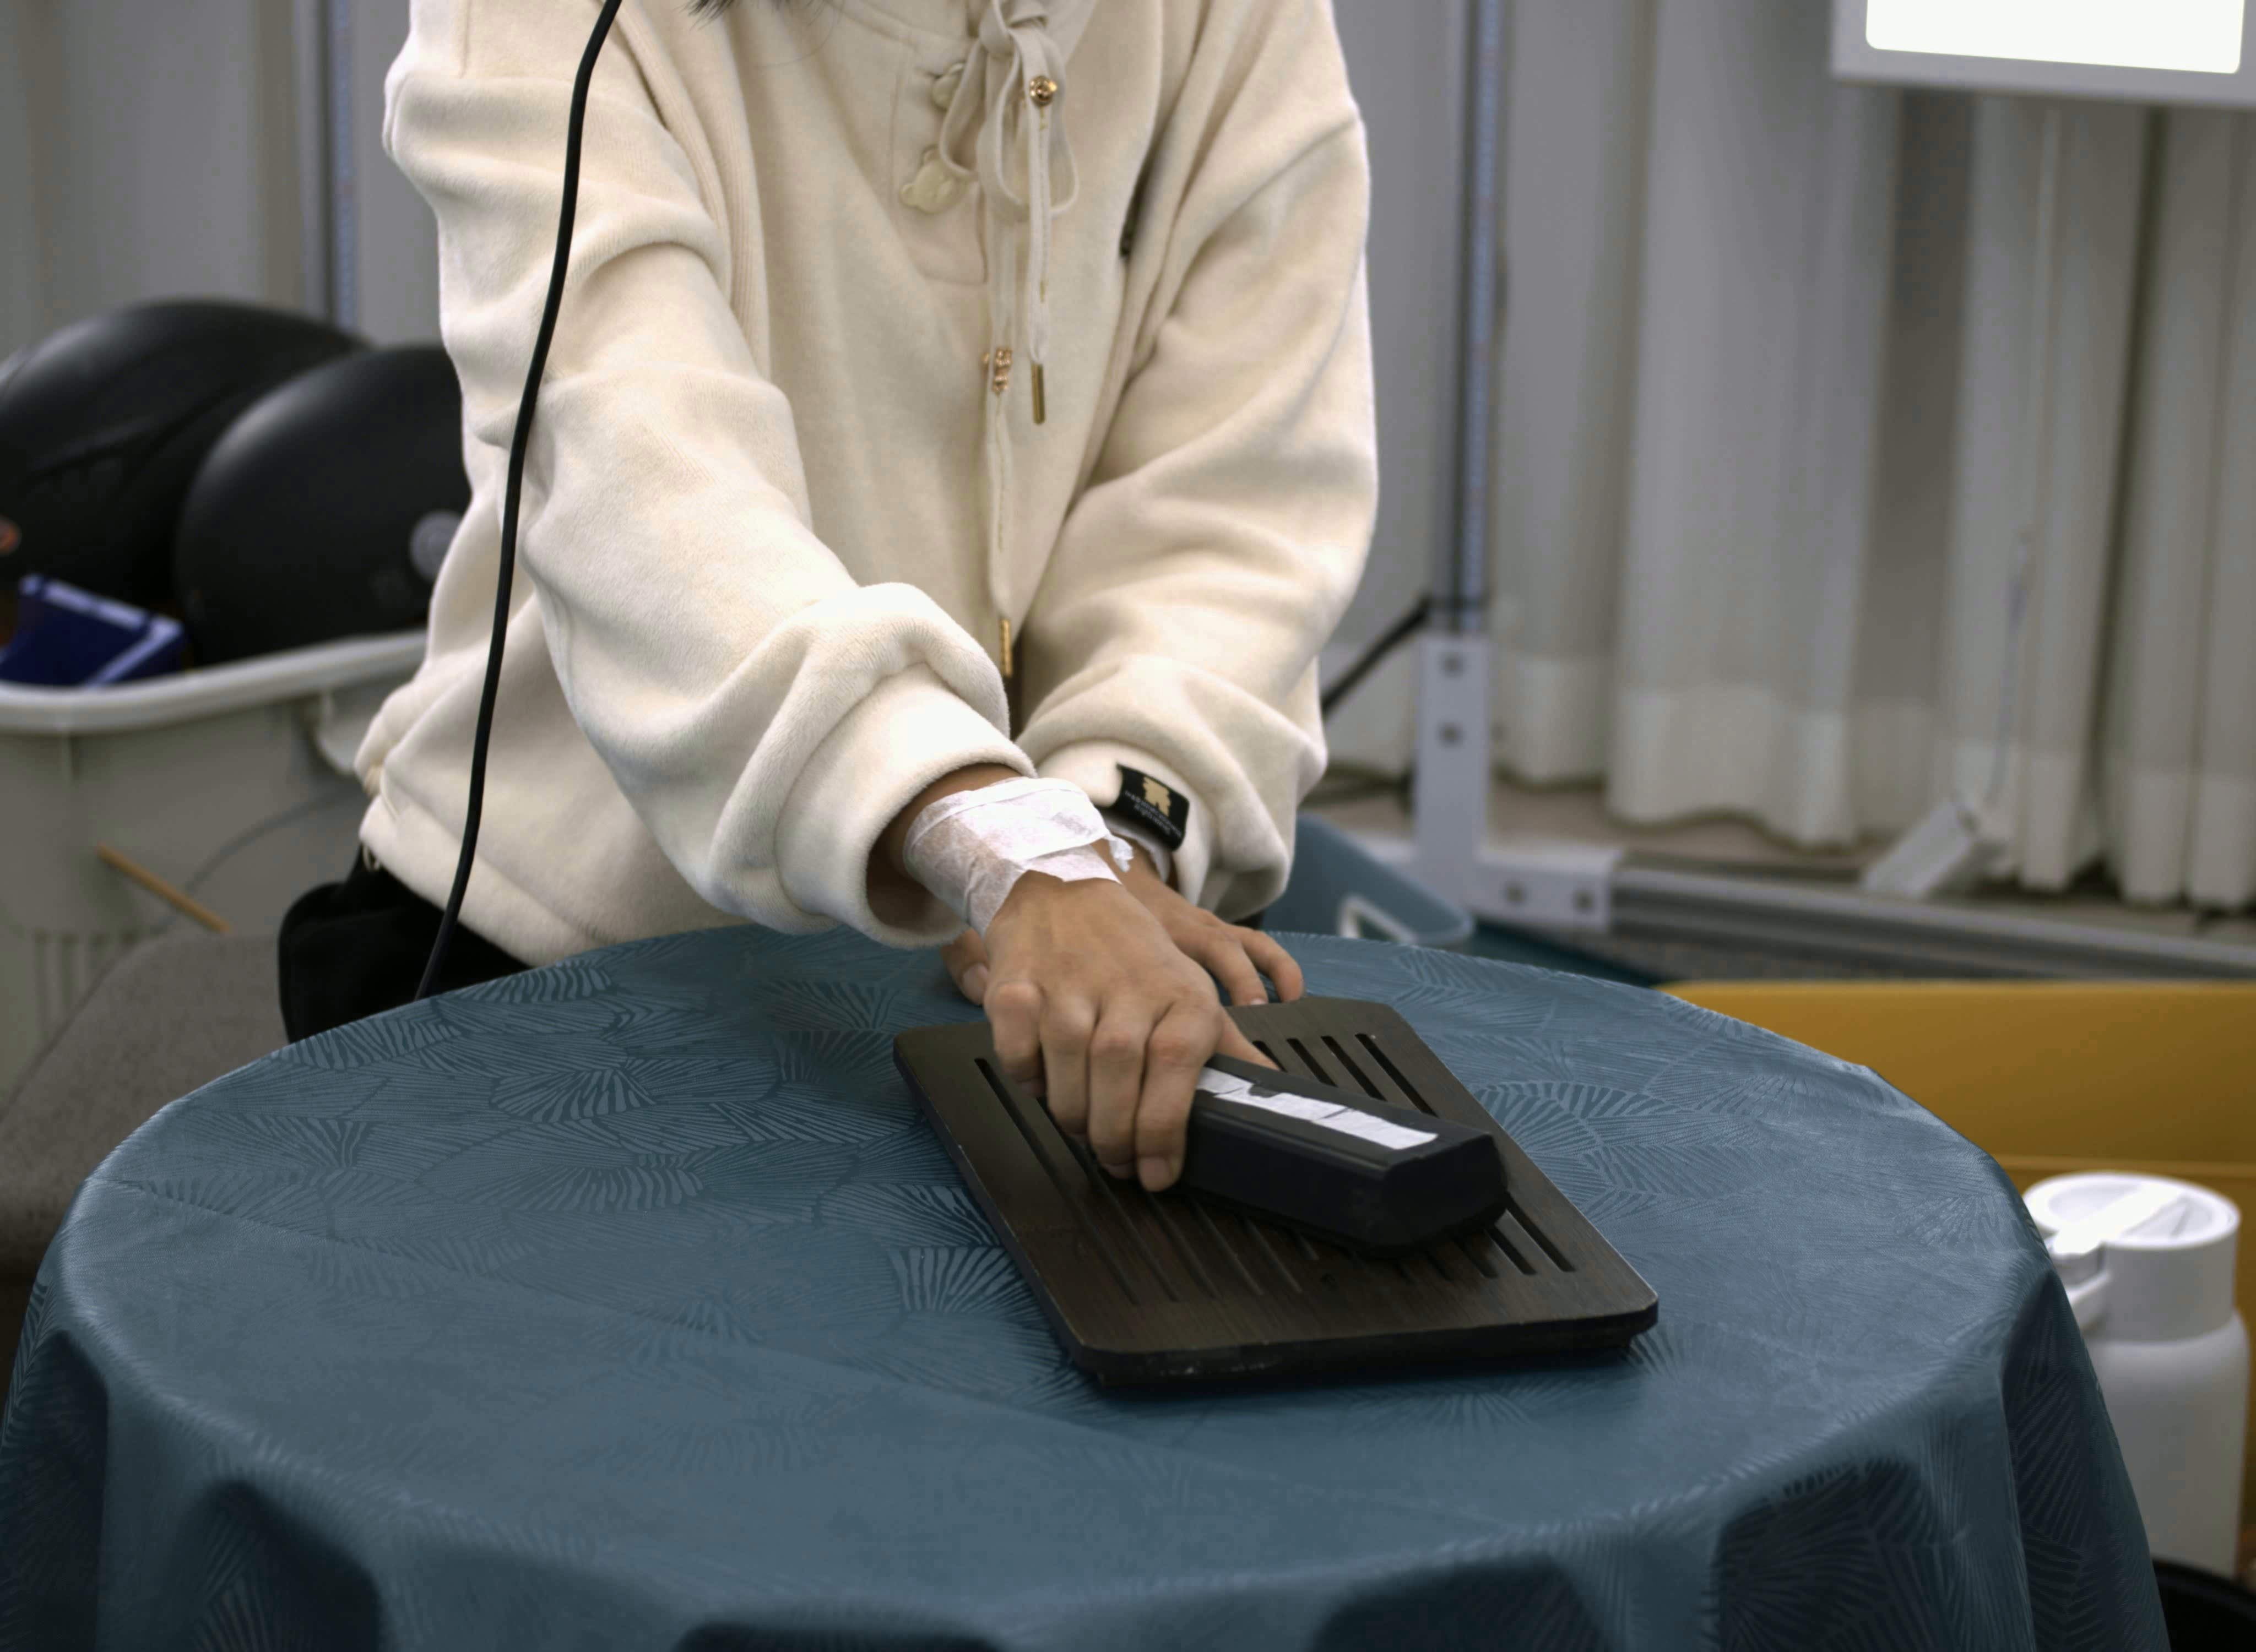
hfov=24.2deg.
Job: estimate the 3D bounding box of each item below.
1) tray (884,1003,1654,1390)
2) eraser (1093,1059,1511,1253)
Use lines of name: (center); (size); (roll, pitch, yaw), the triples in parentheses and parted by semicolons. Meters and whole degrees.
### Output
tray: (0.035, 0.109, 1.600); (0.170, 0.019, 0.303); (-3, 16, -13)
eraser: (0.051, 0.097, 1.565); (0.124, 0.030, 0.054); (13, 16, 42)
